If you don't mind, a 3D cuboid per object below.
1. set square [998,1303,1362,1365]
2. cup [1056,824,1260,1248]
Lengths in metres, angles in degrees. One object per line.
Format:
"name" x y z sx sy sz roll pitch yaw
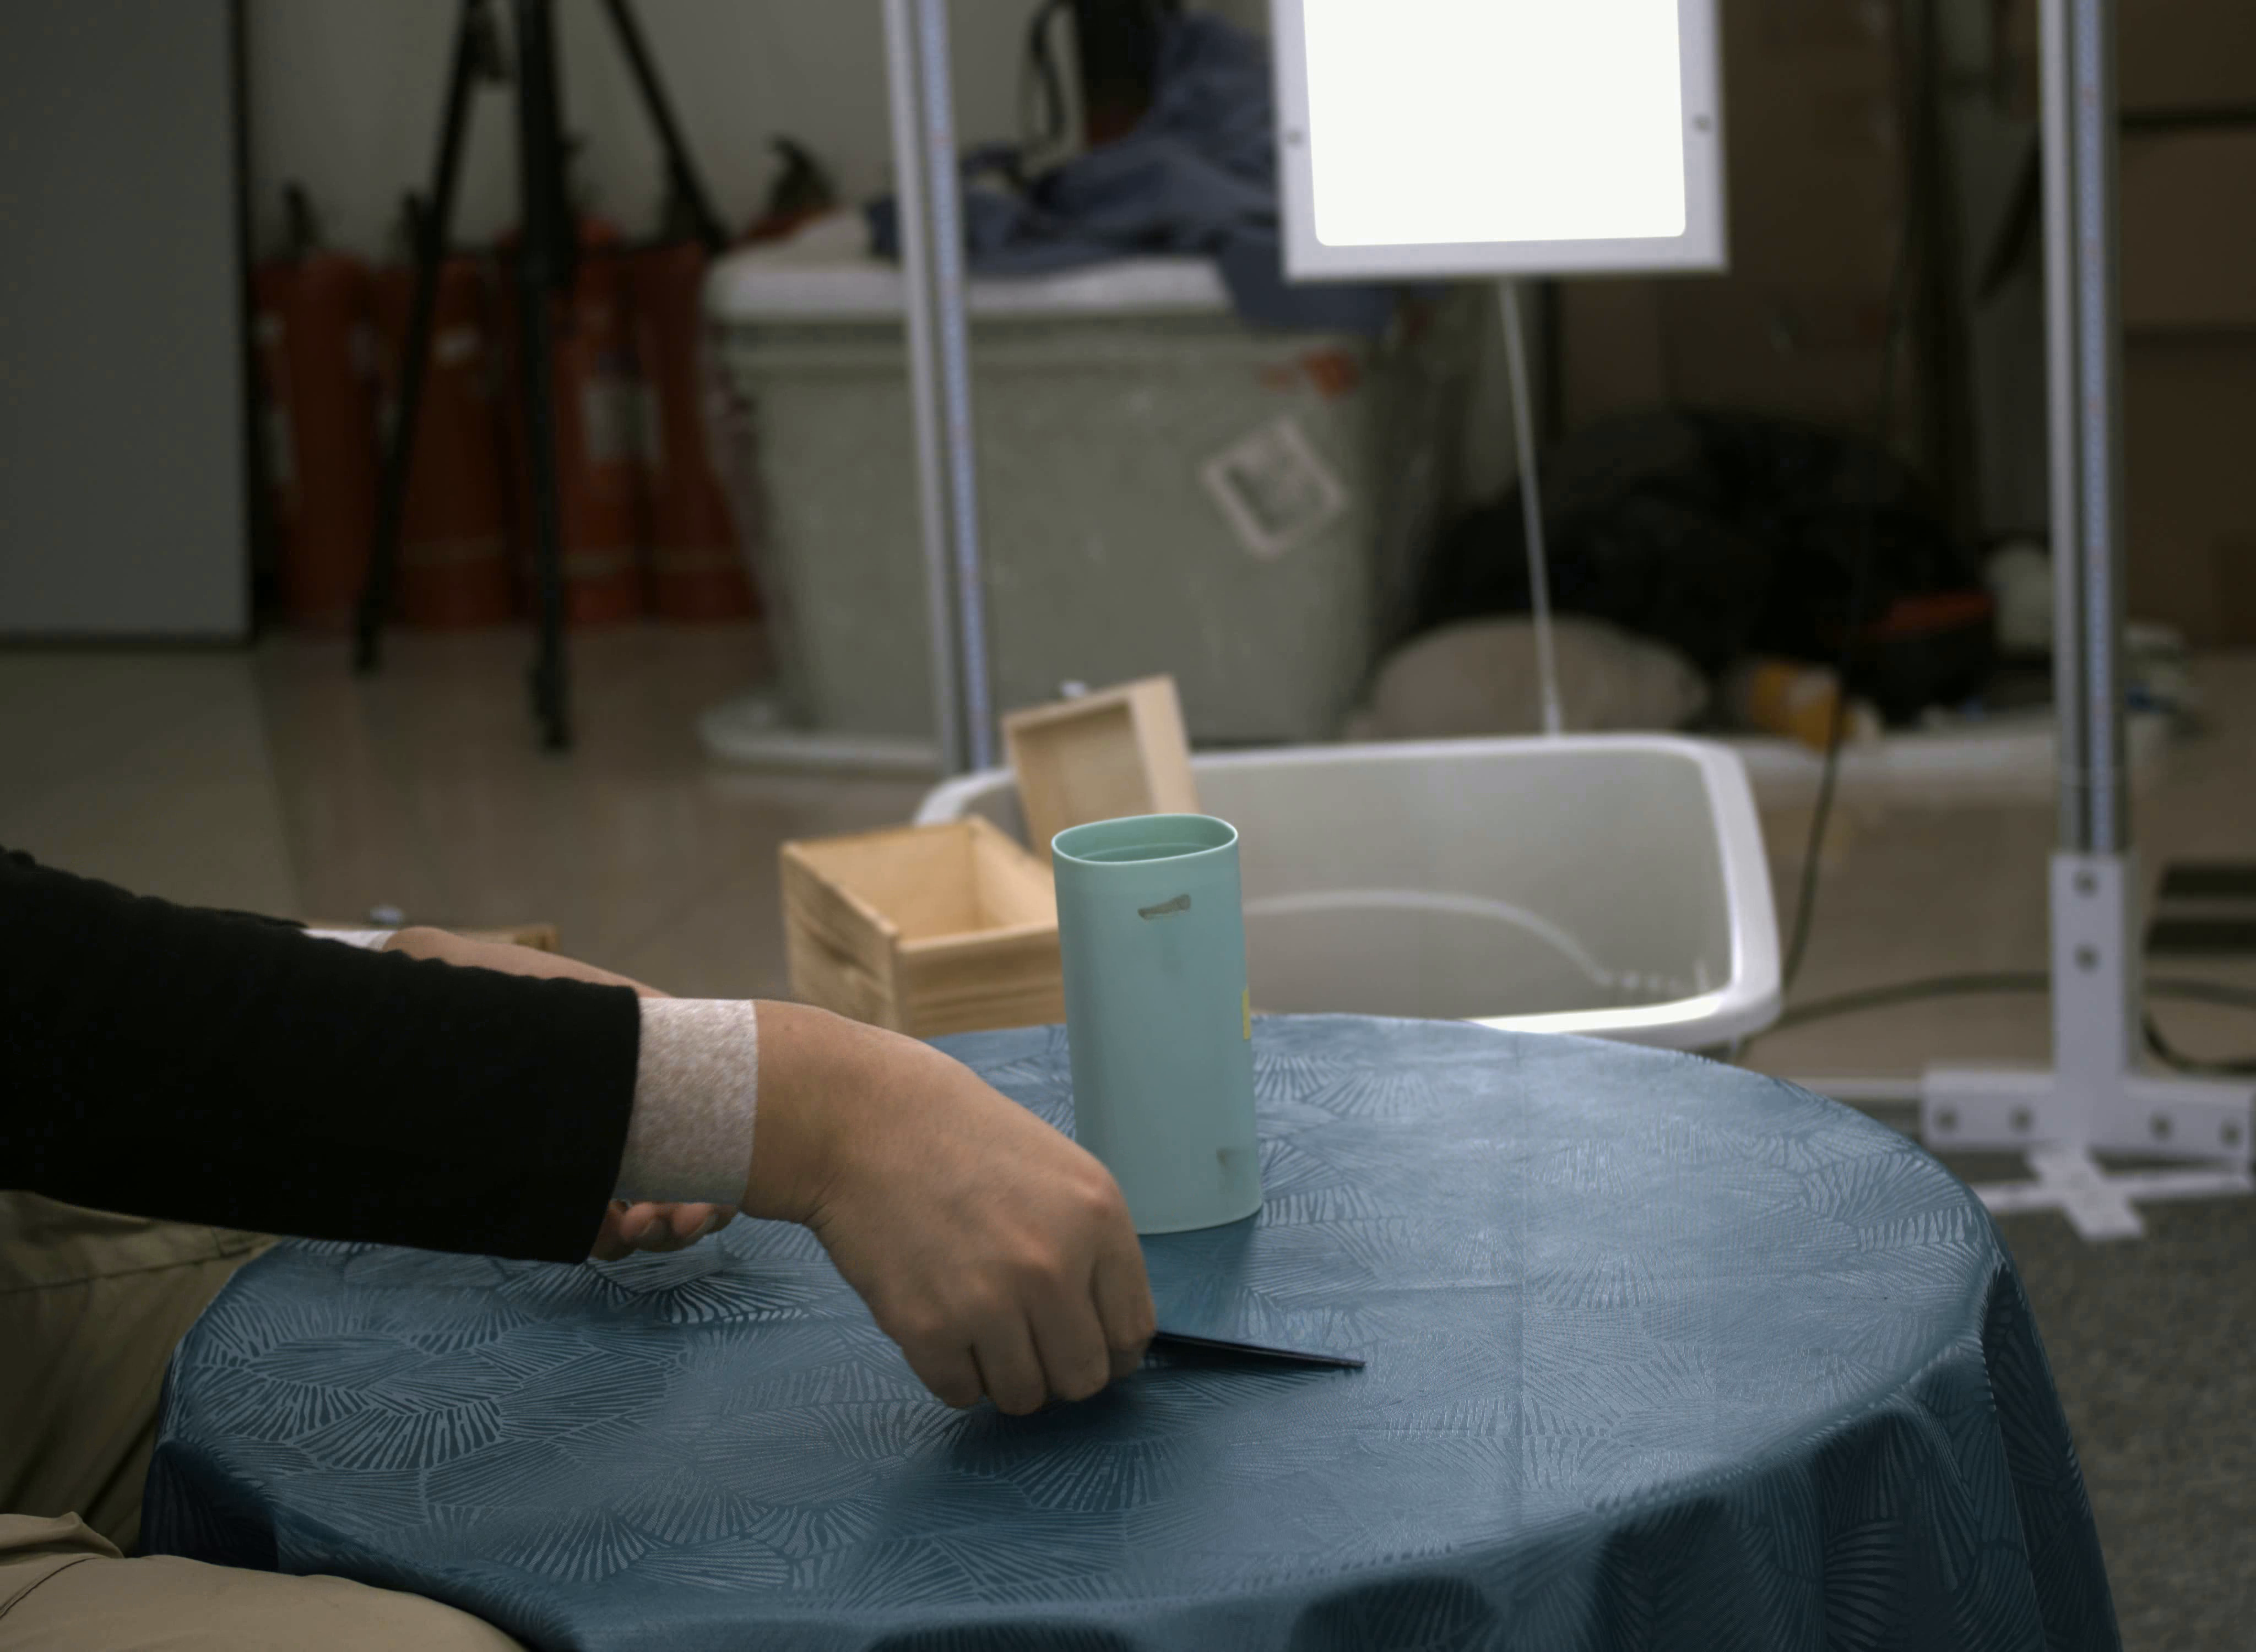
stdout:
"set square" 0.006 0.155 1.707 0.135 0.006 0.060 3 -11 36
"cup" 0.010 0.070 1.864 0.066 0.133 0.066 -4 14 0
